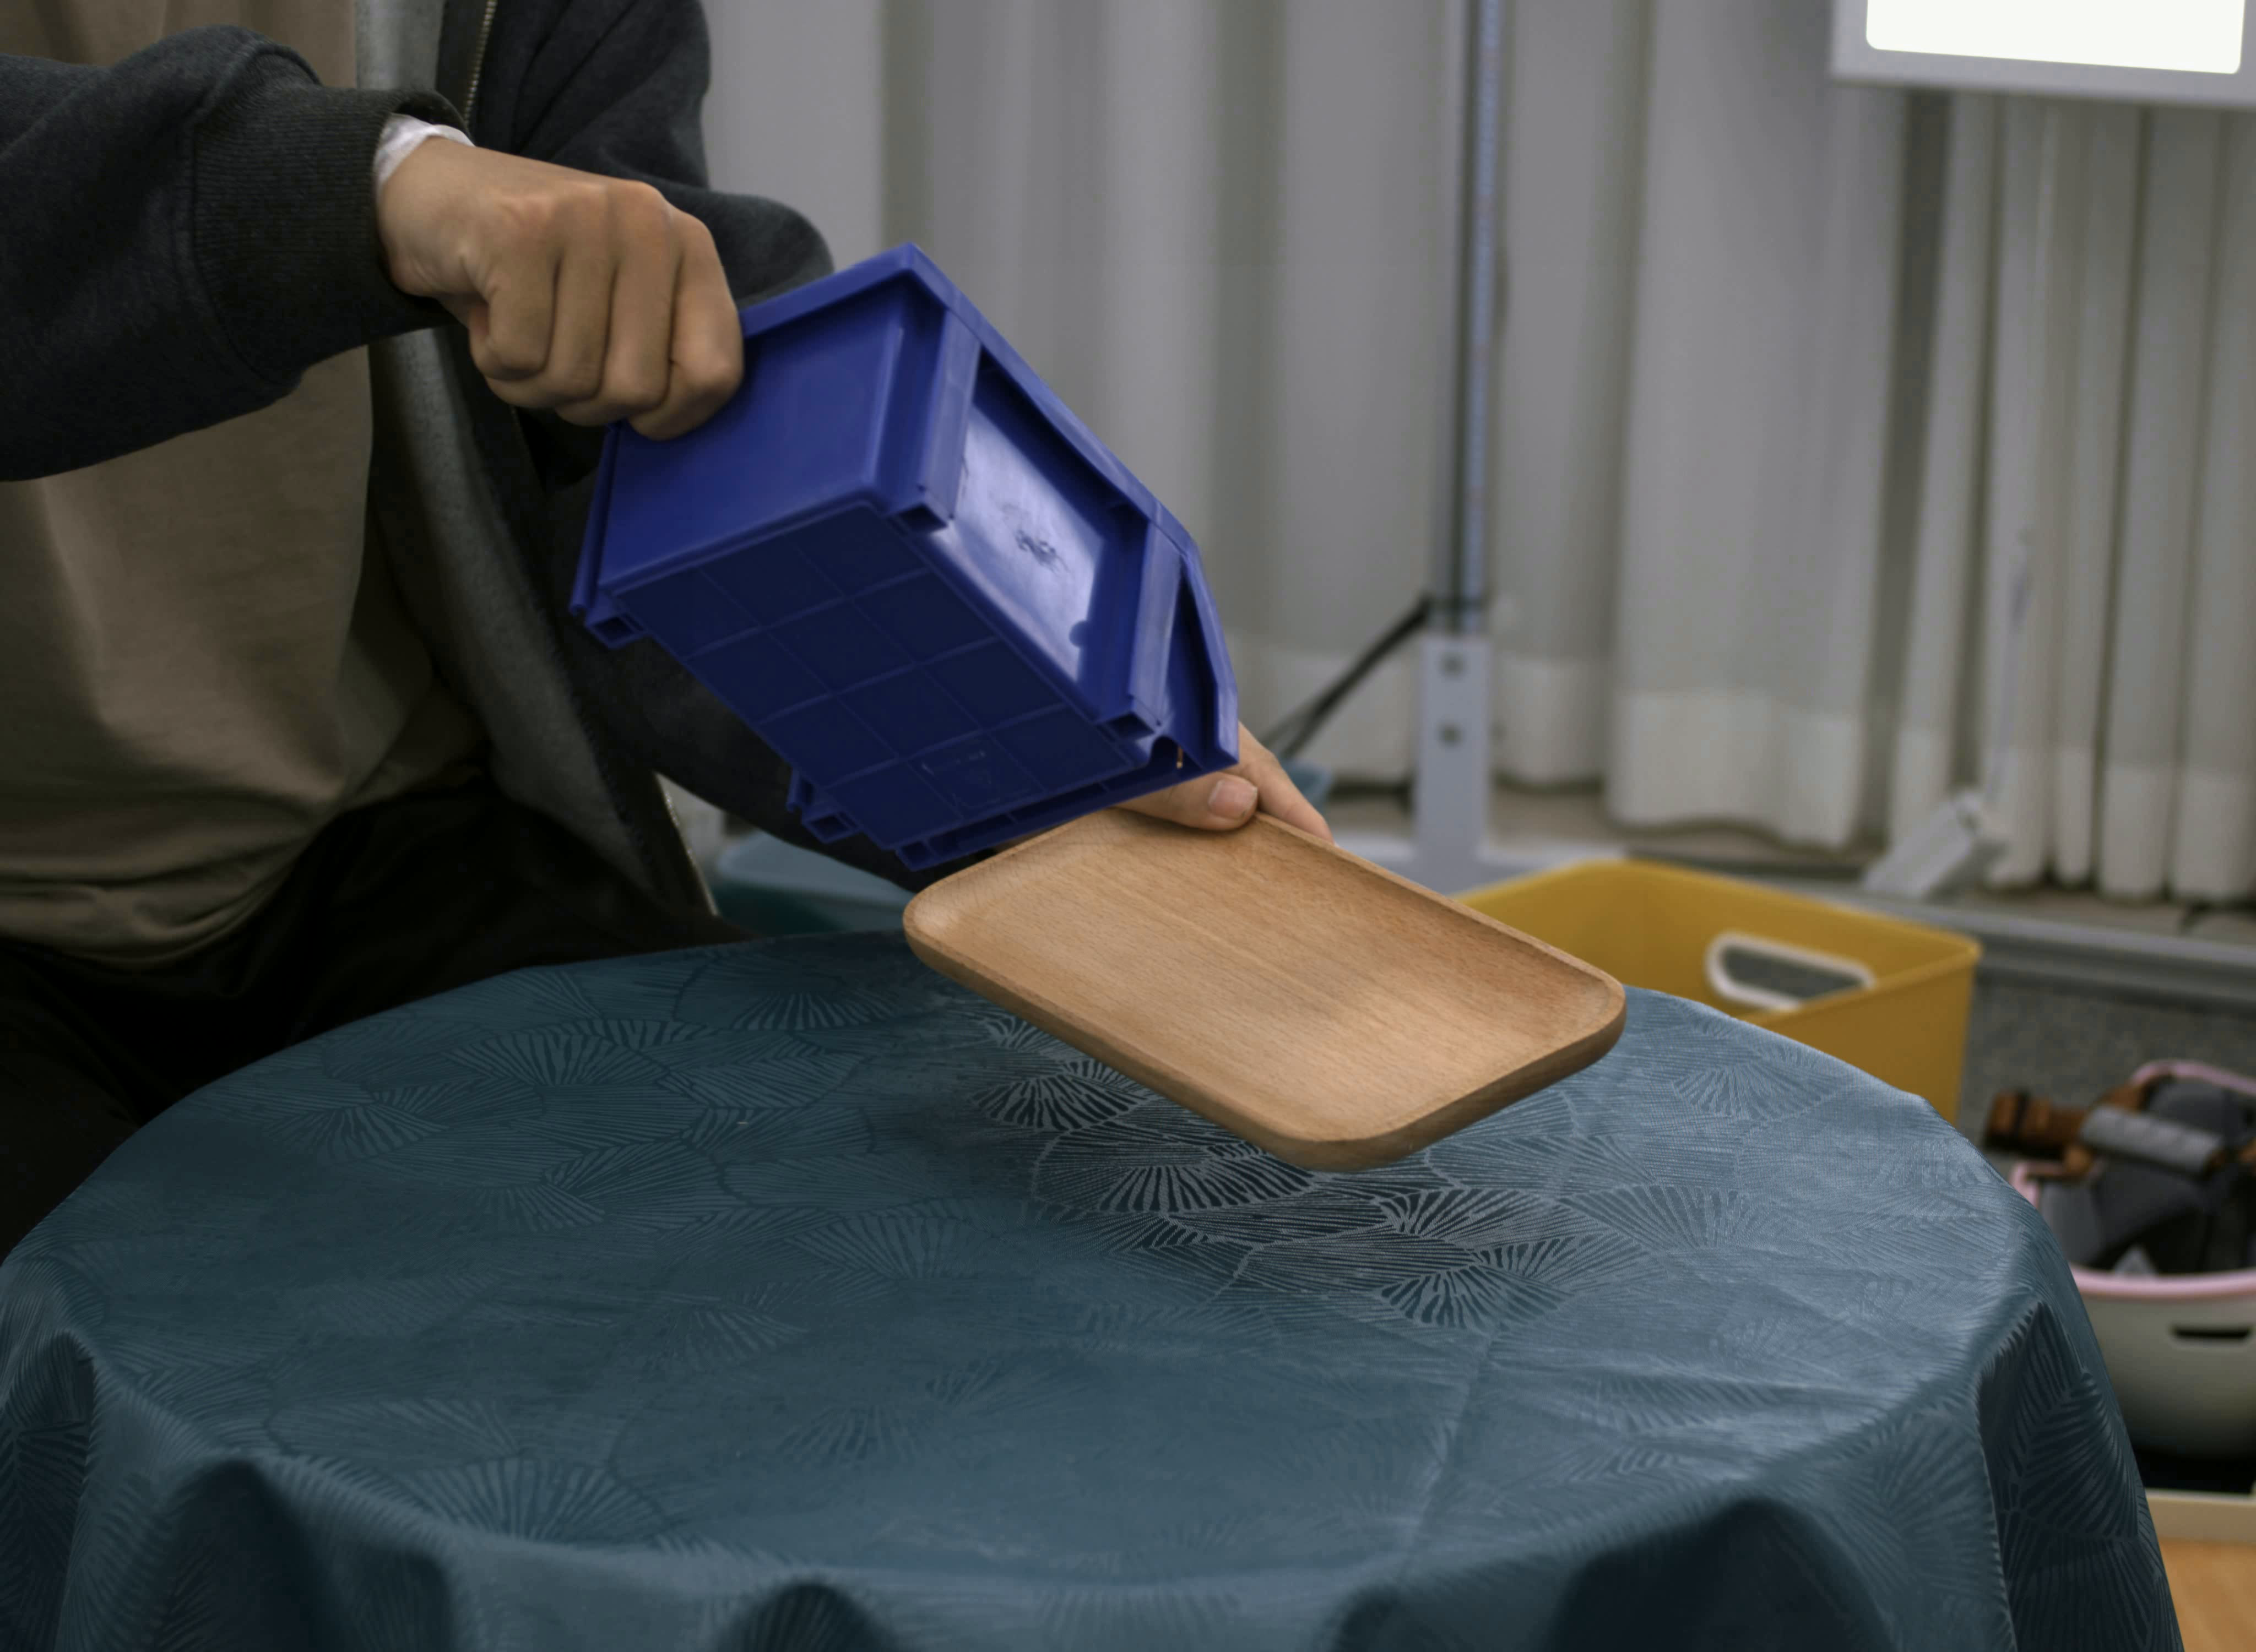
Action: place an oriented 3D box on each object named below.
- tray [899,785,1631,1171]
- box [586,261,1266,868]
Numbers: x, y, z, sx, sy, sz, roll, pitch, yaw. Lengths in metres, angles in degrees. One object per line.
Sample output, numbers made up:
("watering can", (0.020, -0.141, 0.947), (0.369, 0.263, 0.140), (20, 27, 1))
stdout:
("tray", (0.039, 0.044, 1.630), (0.131, 0.023, 0.247), (-21, 27, -29))
("box", (-0.060, -0.065, 1.533), (0.123, 0.081, 0.182), (-20, -40, 31))
